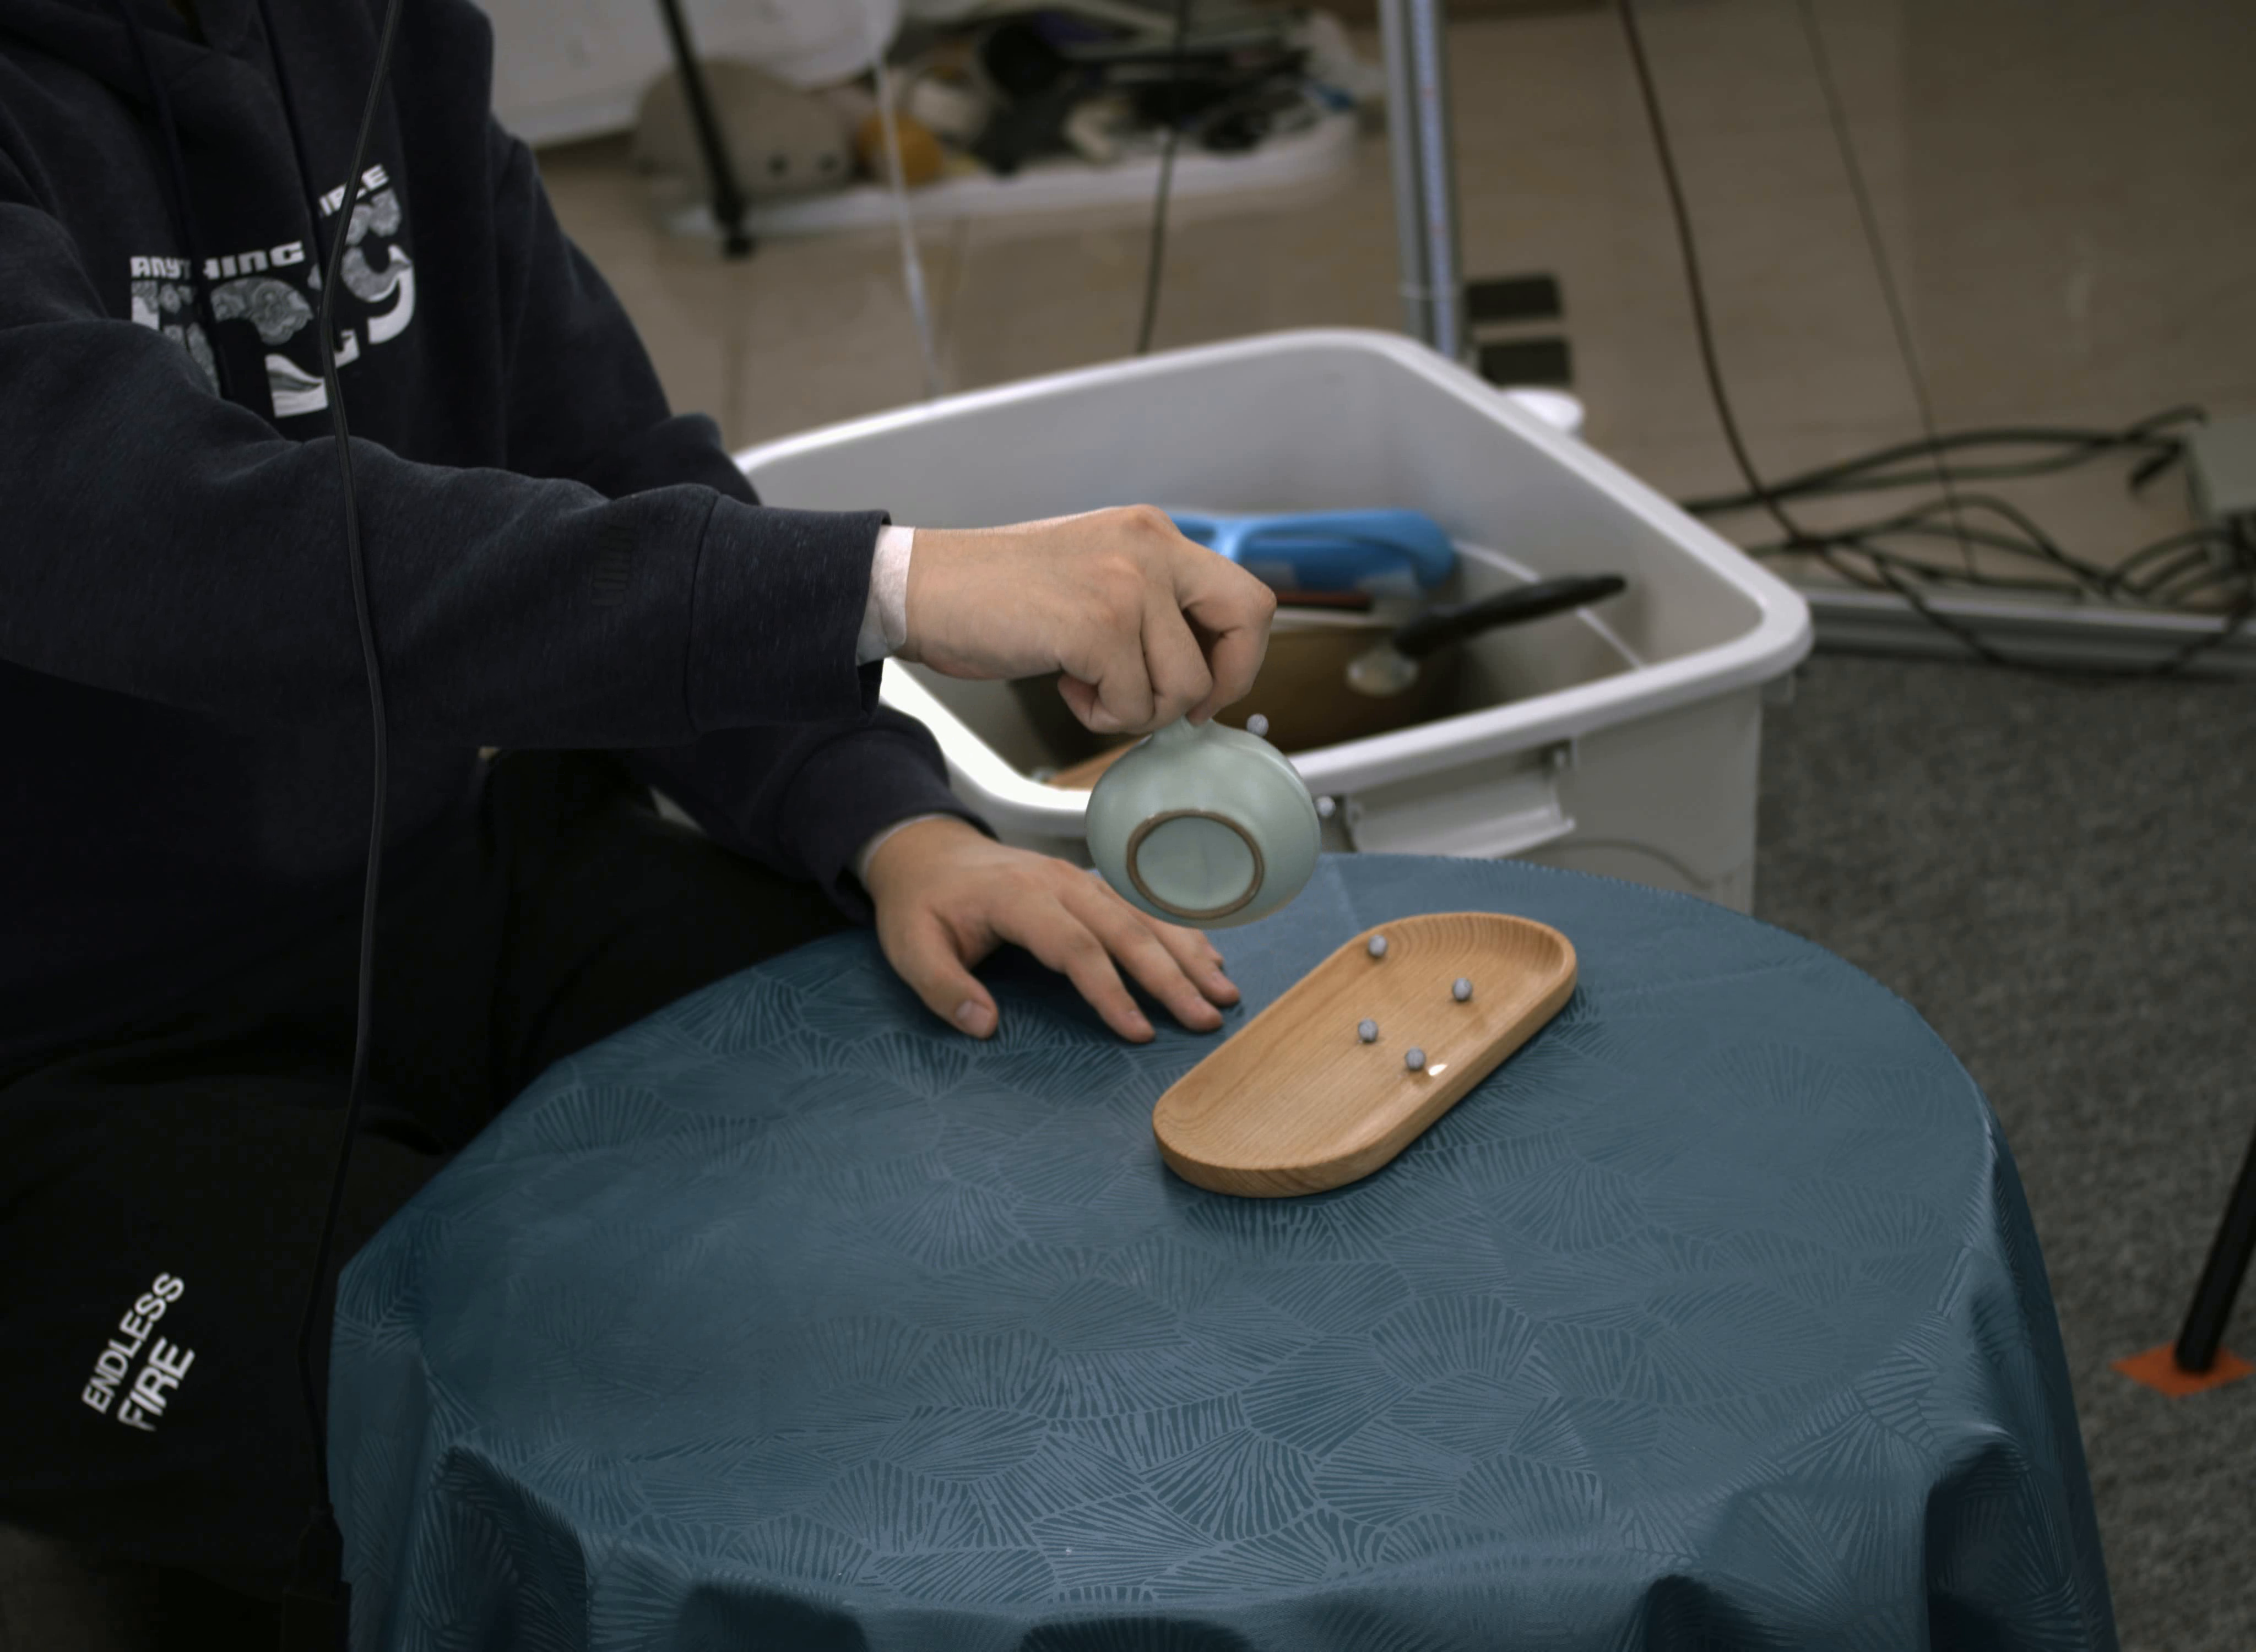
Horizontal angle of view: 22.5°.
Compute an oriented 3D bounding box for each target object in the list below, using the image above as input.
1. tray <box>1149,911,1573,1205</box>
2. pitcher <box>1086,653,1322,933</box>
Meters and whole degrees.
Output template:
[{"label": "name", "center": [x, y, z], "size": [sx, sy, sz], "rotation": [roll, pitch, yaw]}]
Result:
[{"label": "tray", "center": [0.093, 0.089, 2.216], "size": [0.101, 0.020, 0.228], "rotation": [8, 30, 32]}, {"label": "pitcher", "center": [0.026, -0.010, 2.054], "size": [0.086, 0.110, 0.059], "rotation": [-4, 39, 13]}]
